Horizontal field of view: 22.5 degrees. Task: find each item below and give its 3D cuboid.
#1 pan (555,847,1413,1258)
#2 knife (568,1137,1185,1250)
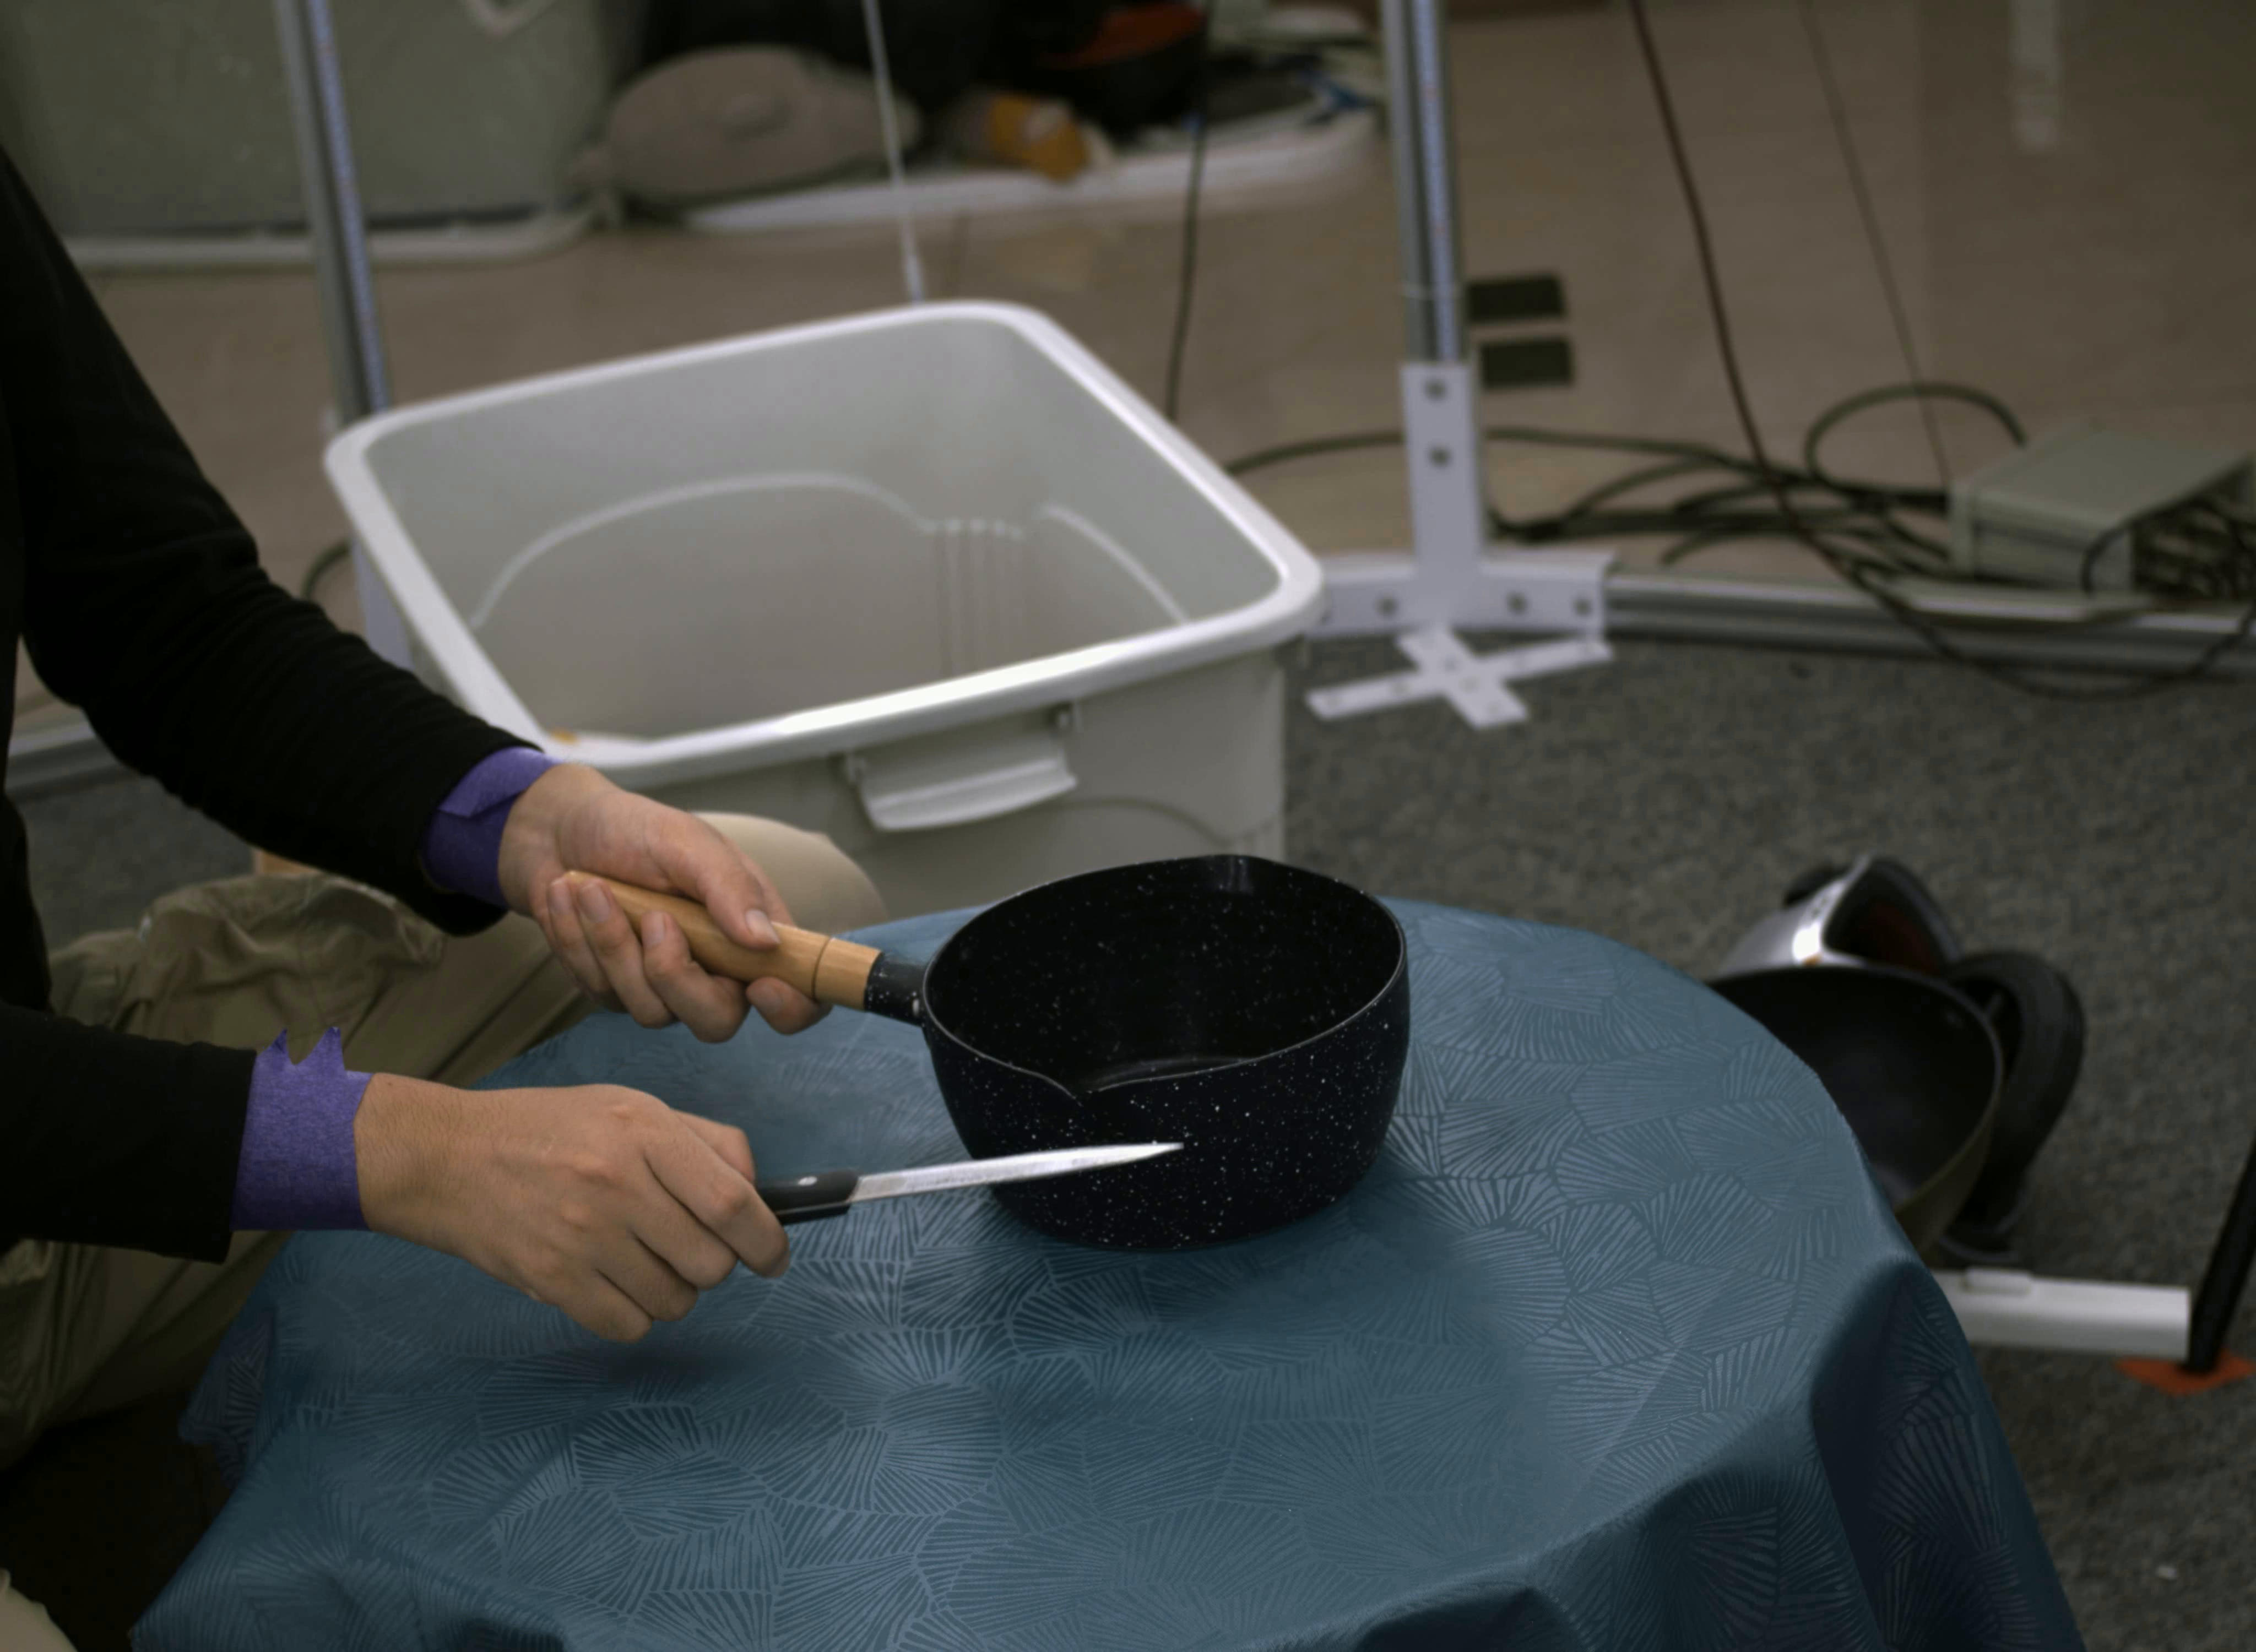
[{"bbox_3d":[-0.059,0.076,2.169,0.342,0.110,0.204,4,27,17],"label":"pan"},{"bbox_3d":[-0.092,0.129,2.021,0.238,0.016,0.024,-9,19,18],"label":"knife"}]
